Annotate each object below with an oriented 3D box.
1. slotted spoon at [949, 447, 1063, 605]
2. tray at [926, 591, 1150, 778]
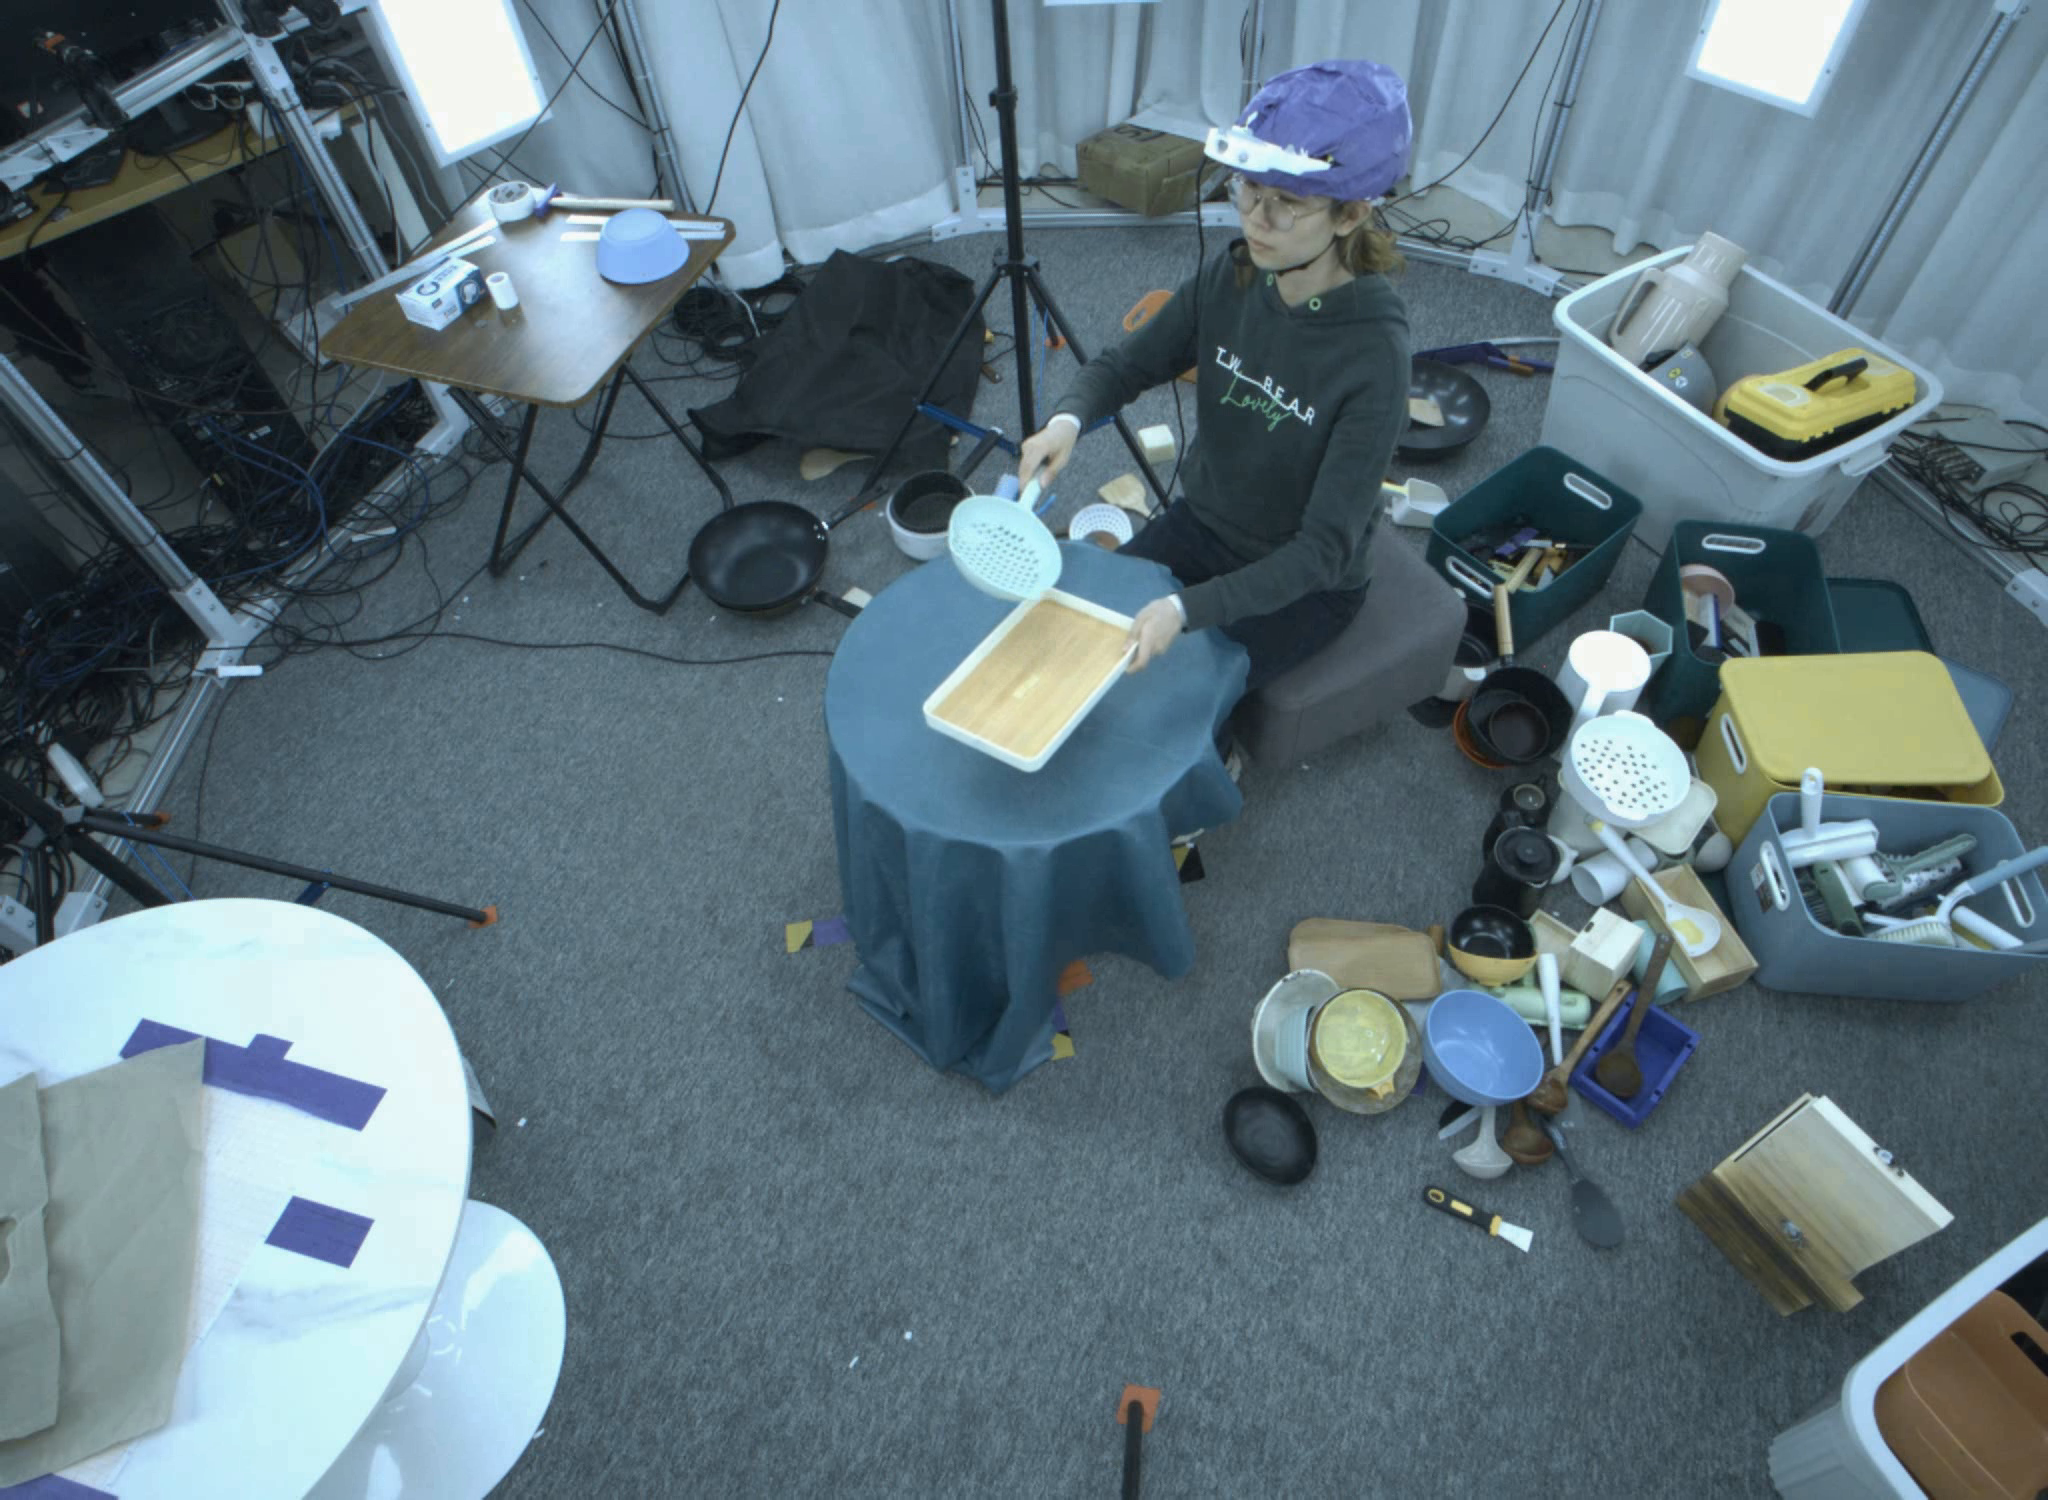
[{"bbox_3d":[-0.001,-0.339,1.743,0.171,0.074,0.358,32,56,-13],"label":"slotted spoon"},{"bbox_3d":[0.023,-0.098,1.702,0.188,0.028,0.302,26,56,23],"label":"tray"}]
